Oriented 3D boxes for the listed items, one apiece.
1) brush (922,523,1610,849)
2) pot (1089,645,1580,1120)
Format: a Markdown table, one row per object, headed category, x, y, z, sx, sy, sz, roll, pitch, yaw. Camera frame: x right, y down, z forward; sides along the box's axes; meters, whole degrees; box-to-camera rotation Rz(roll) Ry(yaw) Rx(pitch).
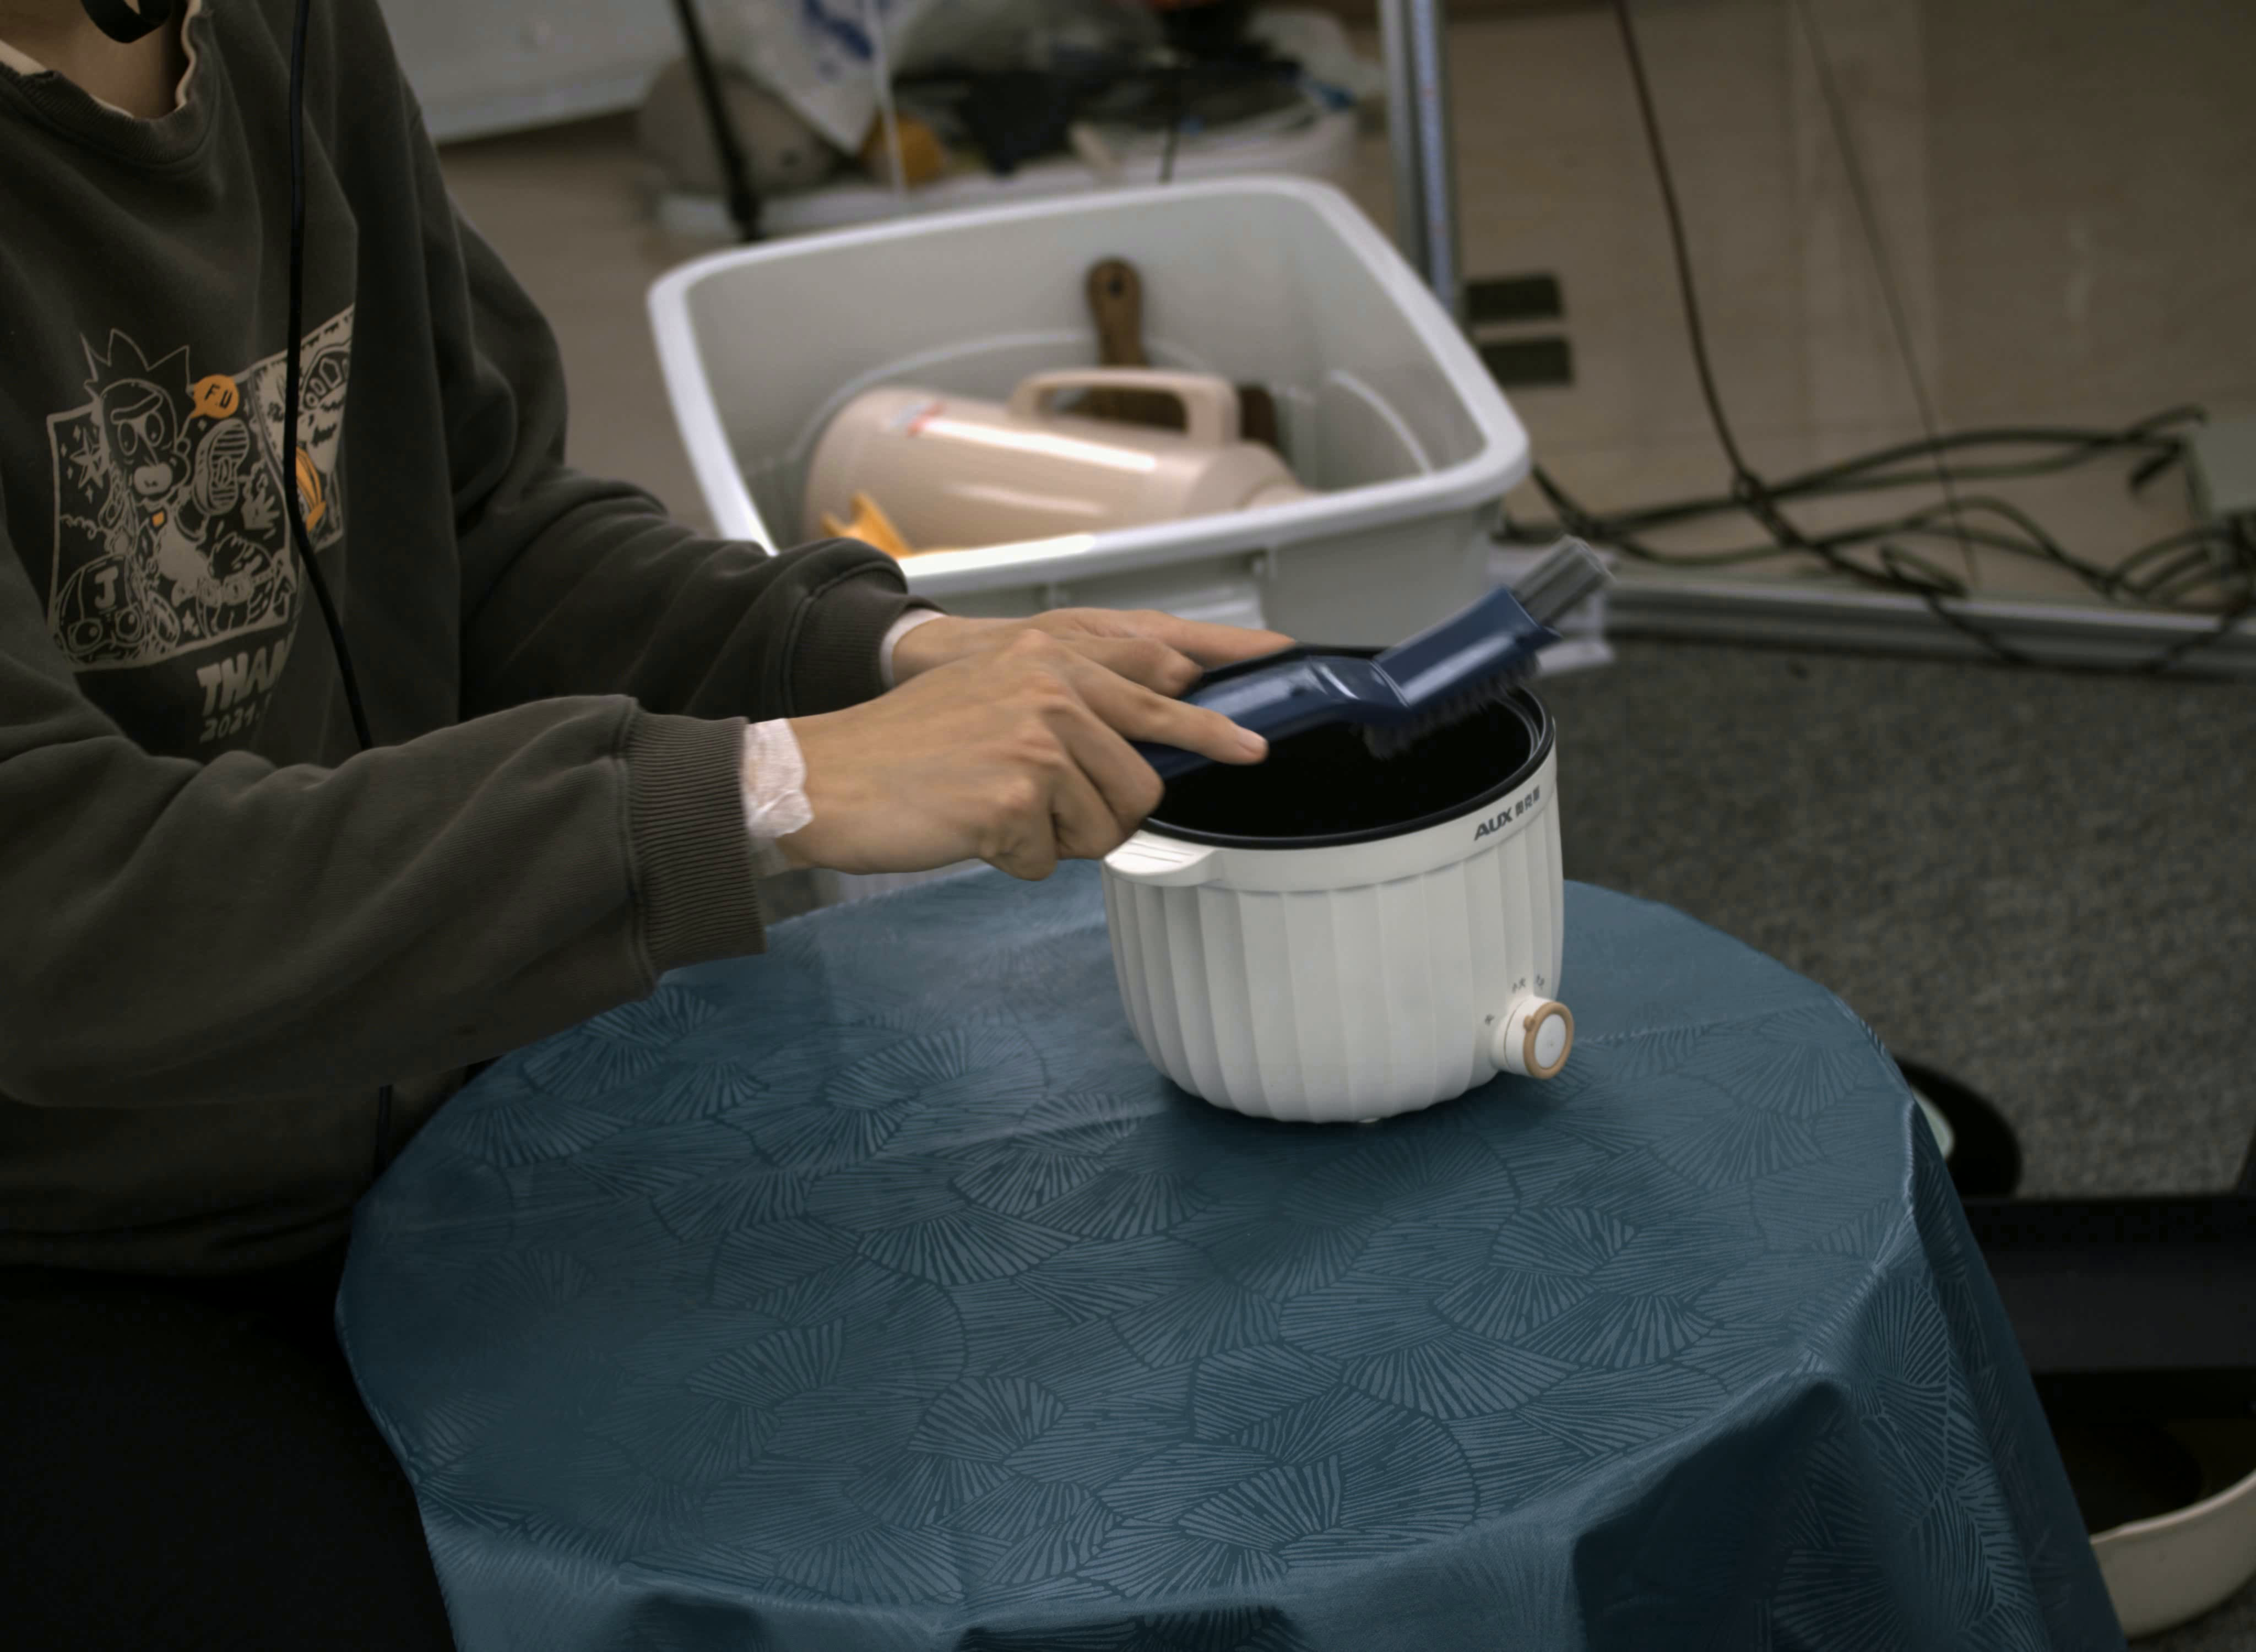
| category | x | y | z | sx | sy | sz | roll | pitch | yaw |
| --- | --- | --- | --- | --- | --- | --- | --- | --- | --- |
| brush | 0.051 | -0.051 | 2.042 | 0.272 | 0.097 | 0.033 | -15 | 58 | -36 |
| pot | 0.085 | 0.026 | 2.199 | 0.189 | 0.145 | 0.238 | 11 | 31 | 39 |
